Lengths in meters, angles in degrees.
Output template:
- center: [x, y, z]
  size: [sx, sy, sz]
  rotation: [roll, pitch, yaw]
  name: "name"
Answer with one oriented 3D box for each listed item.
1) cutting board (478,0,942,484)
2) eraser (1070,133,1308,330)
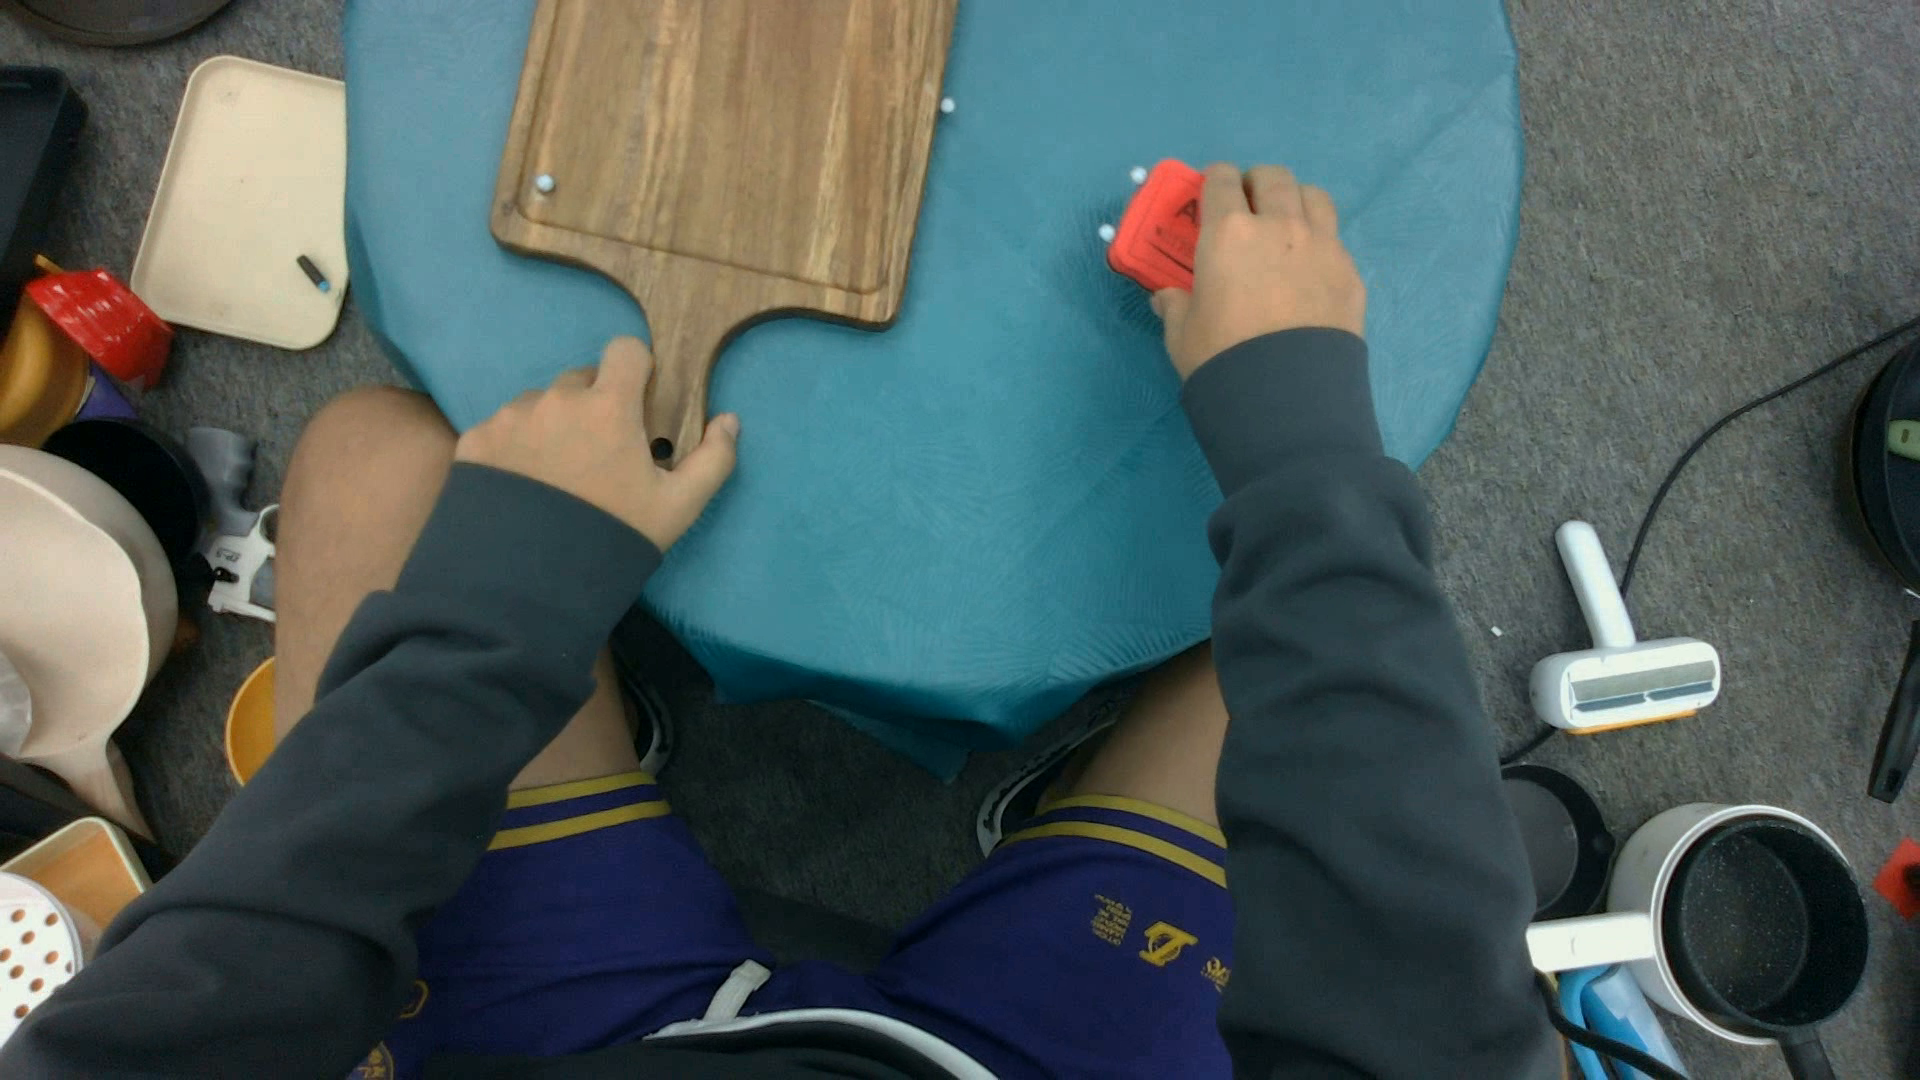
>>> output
- center: [-0.120, -0.201, 0.667]
  size: [0.201, 0.023, 0.352]
  rotation: [10, 84, -7]
  name: "cutting board"
- center: [0.111, -0.147, 0.663]
  size: [0.108, 0.023, 0.059]
  rotation: [24, 87, -14]
  name: "eraser"
